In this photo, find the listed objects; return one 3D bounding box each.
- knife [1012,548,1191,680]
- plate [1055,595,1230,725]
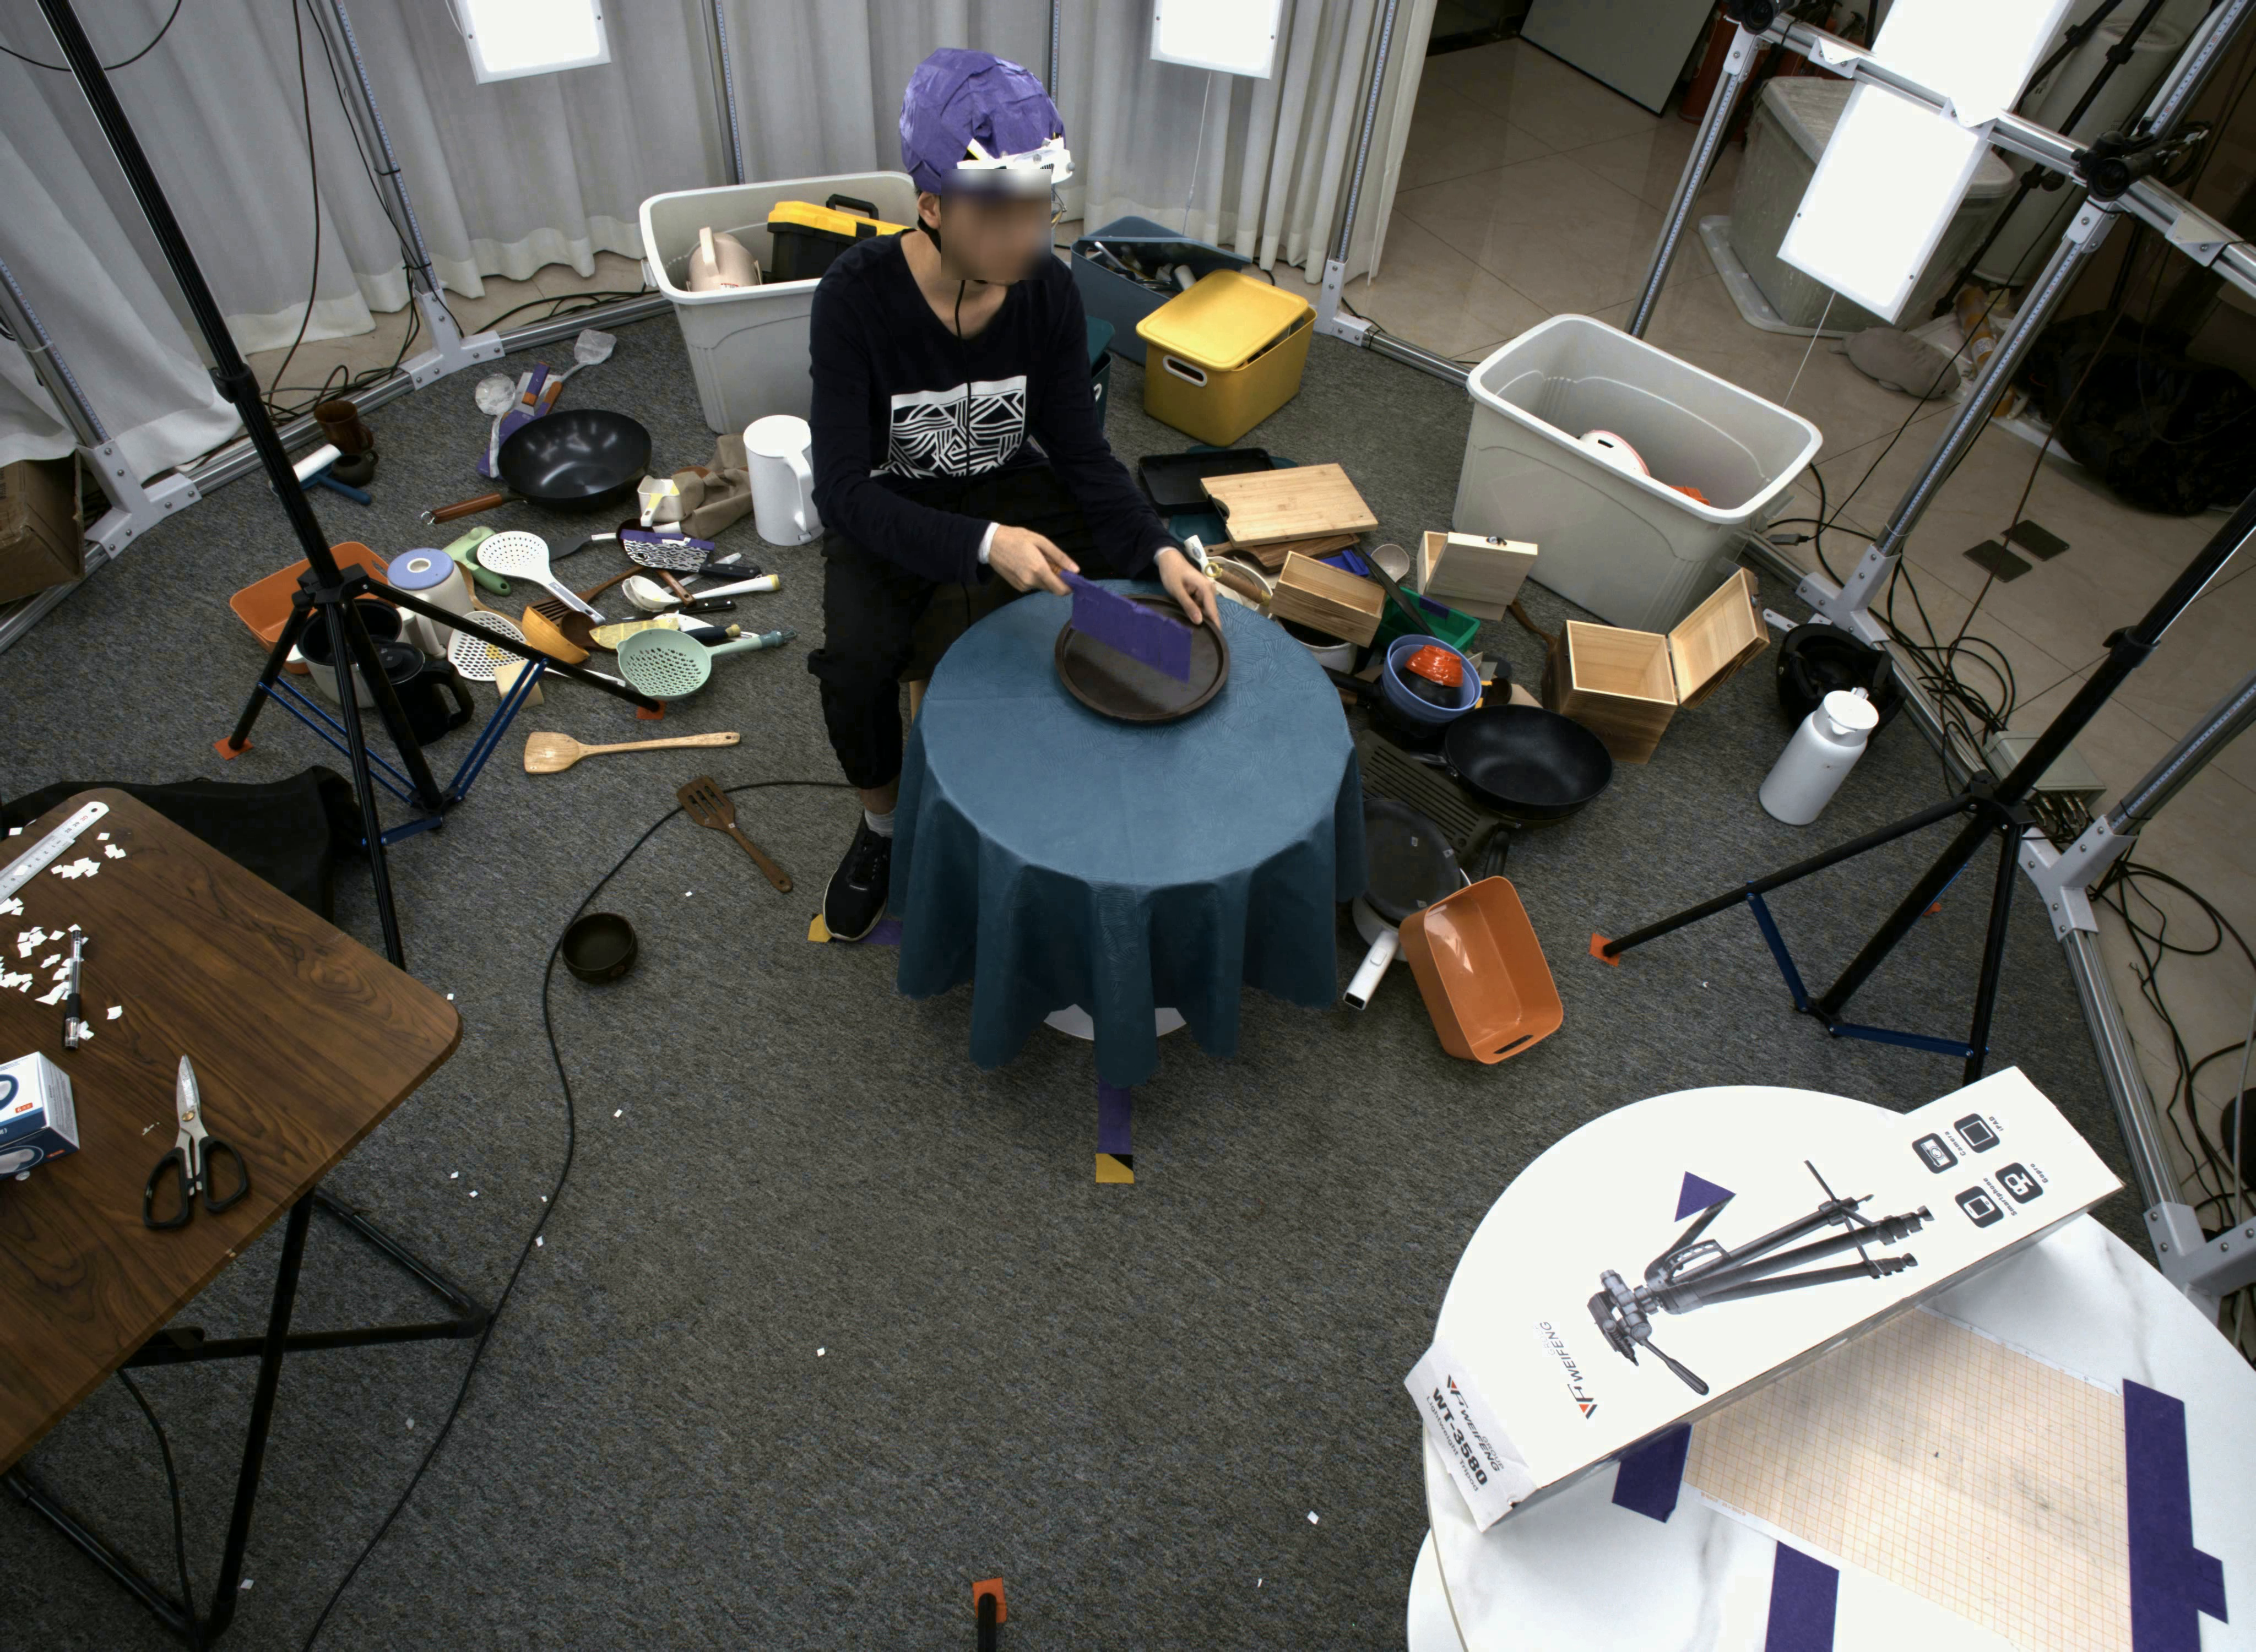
[{"bbox_3d":[-0.040,-0.294,1.805,0.319,0.101,0.032,31,47,28],"label":"knife"},{"bbox_3d":[0.020,-0.242,1.856,0.254,0.028,0.261,1,53,-1],"label":"plate"}]
